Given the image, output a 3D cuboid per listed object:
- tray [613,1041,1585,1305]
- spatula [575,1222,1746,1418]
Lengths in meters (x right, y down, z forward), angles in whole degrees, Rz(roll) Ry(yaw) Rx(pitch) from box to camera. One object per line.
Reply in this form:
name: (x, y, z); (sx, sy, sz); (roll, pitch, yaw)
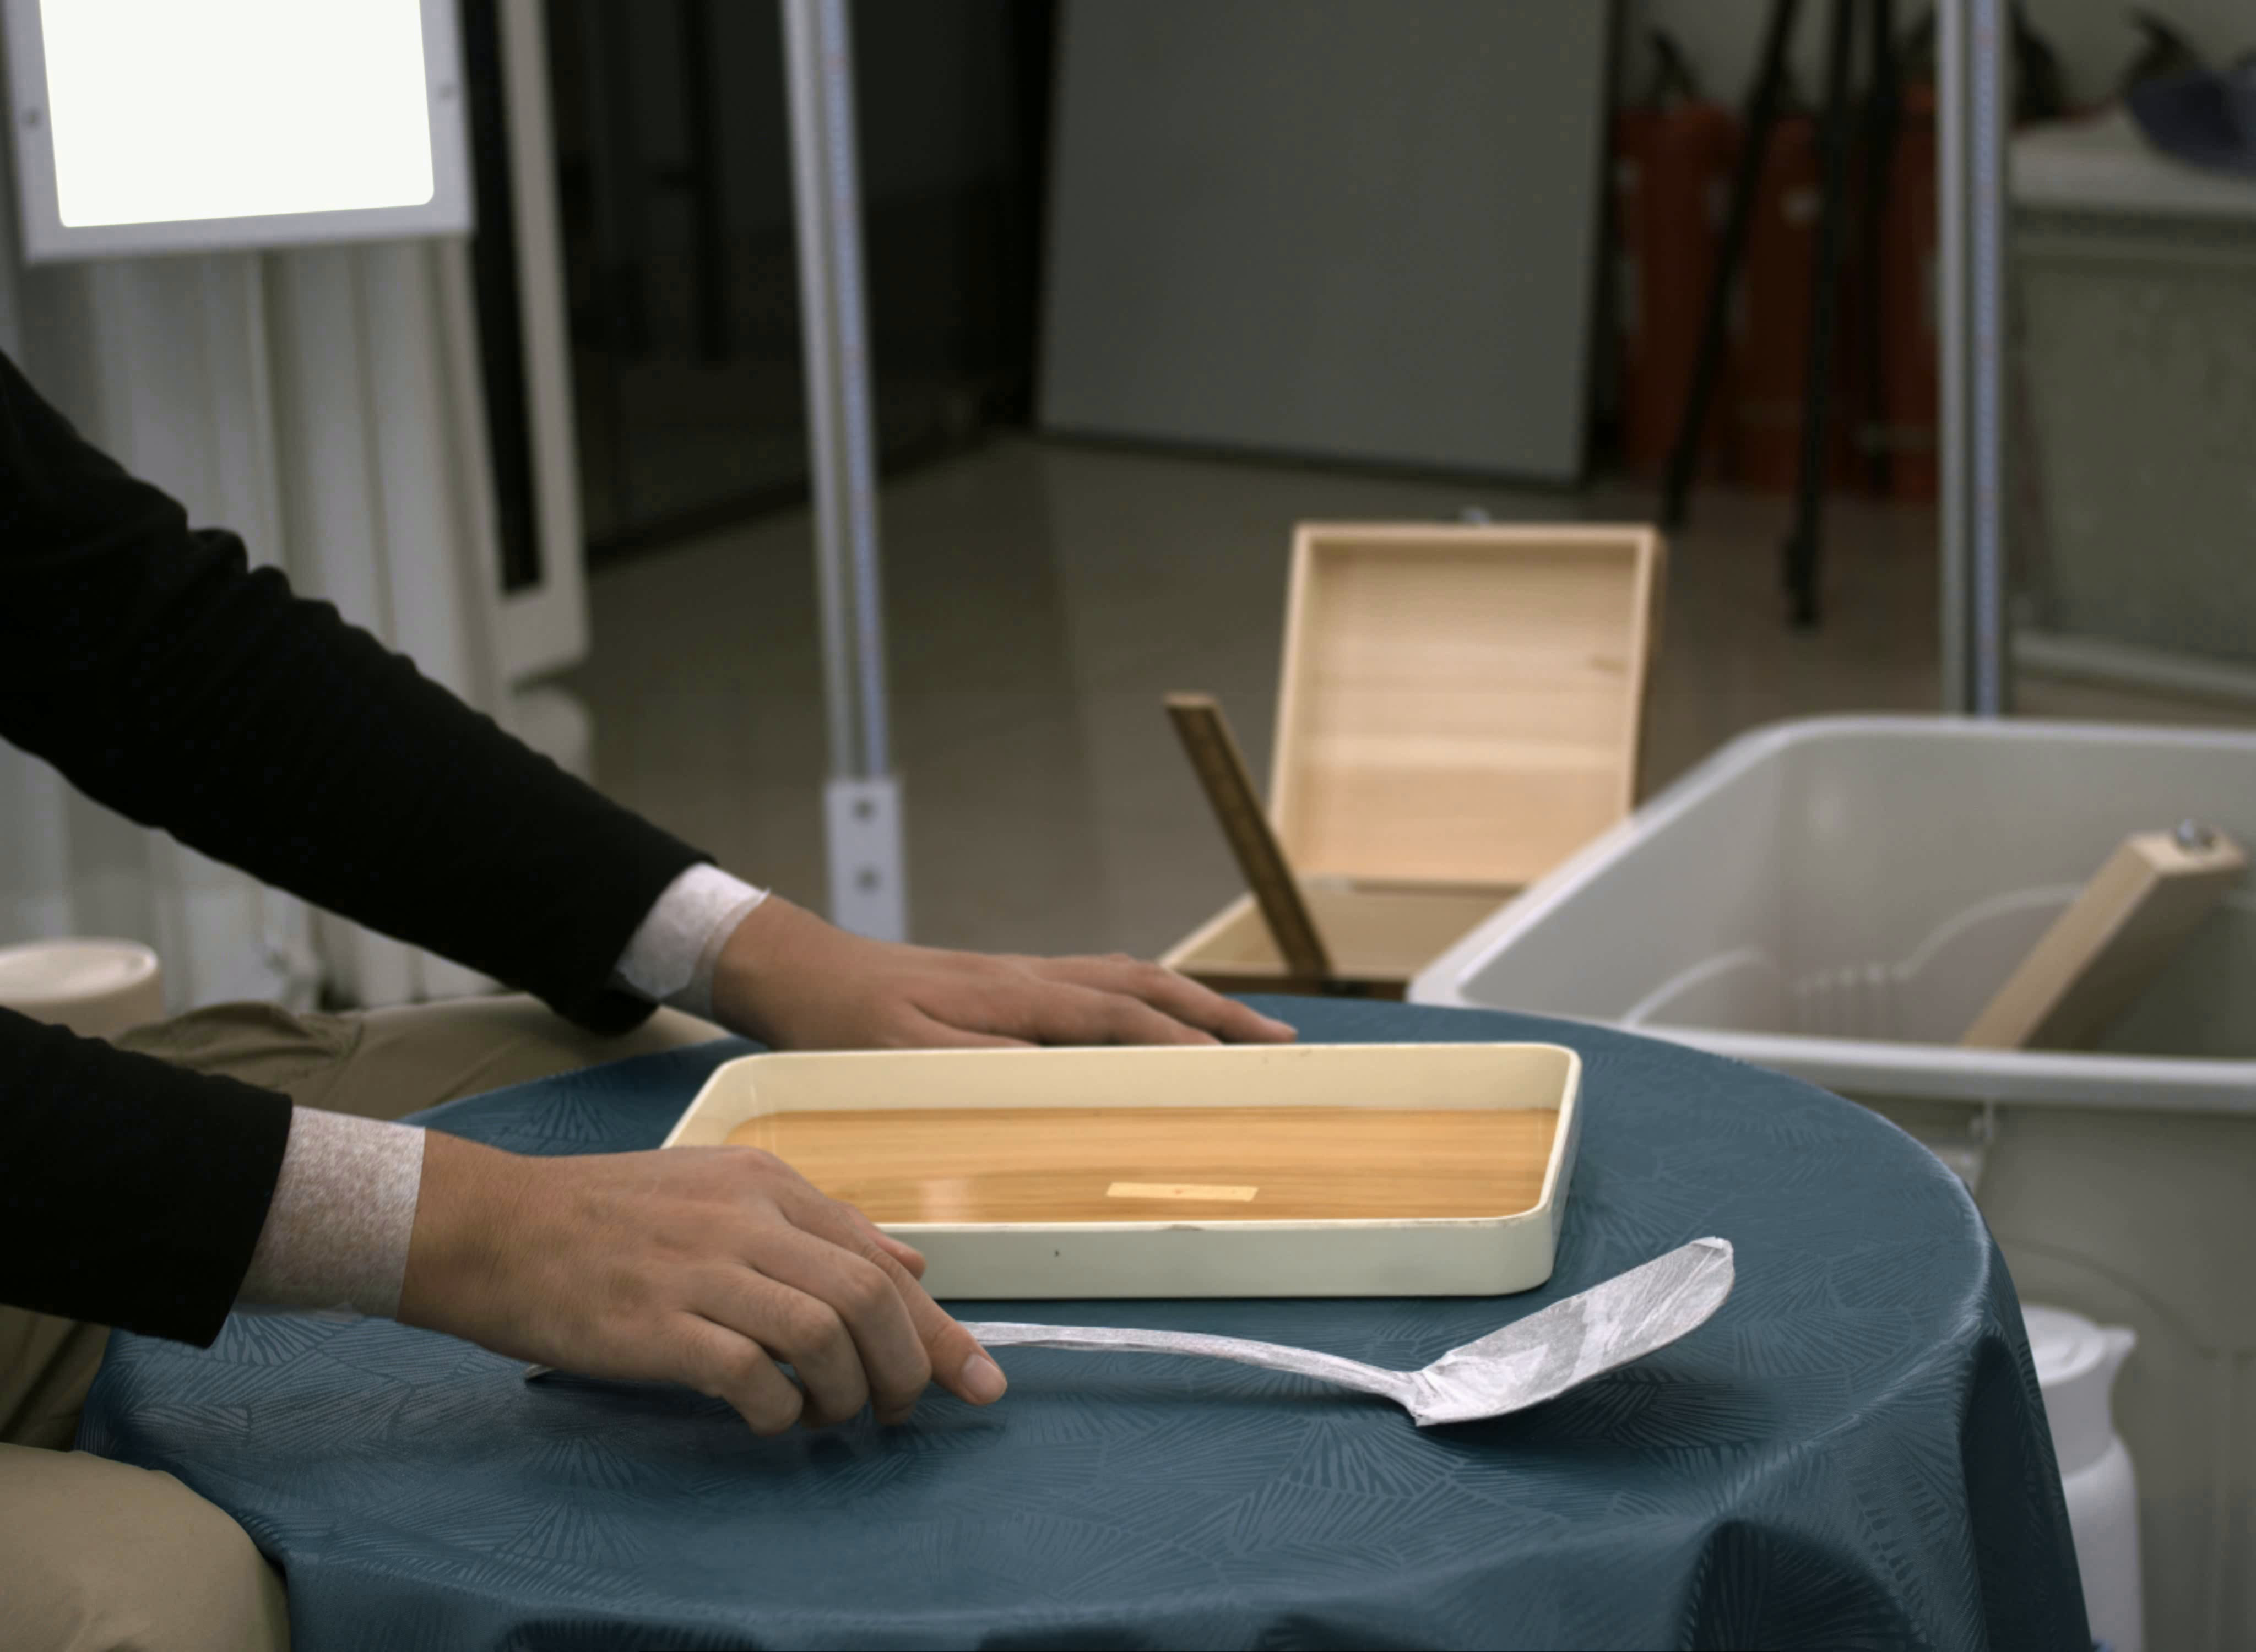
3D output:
tray: (-0.004, 0.112, 1.752); (0.298, 0.028, 0.191); (-2, 14, 11)
spatula: (0.002, 0.147, 1.583); (0.363, 0.045, 0.098); (0, 15, 16)
